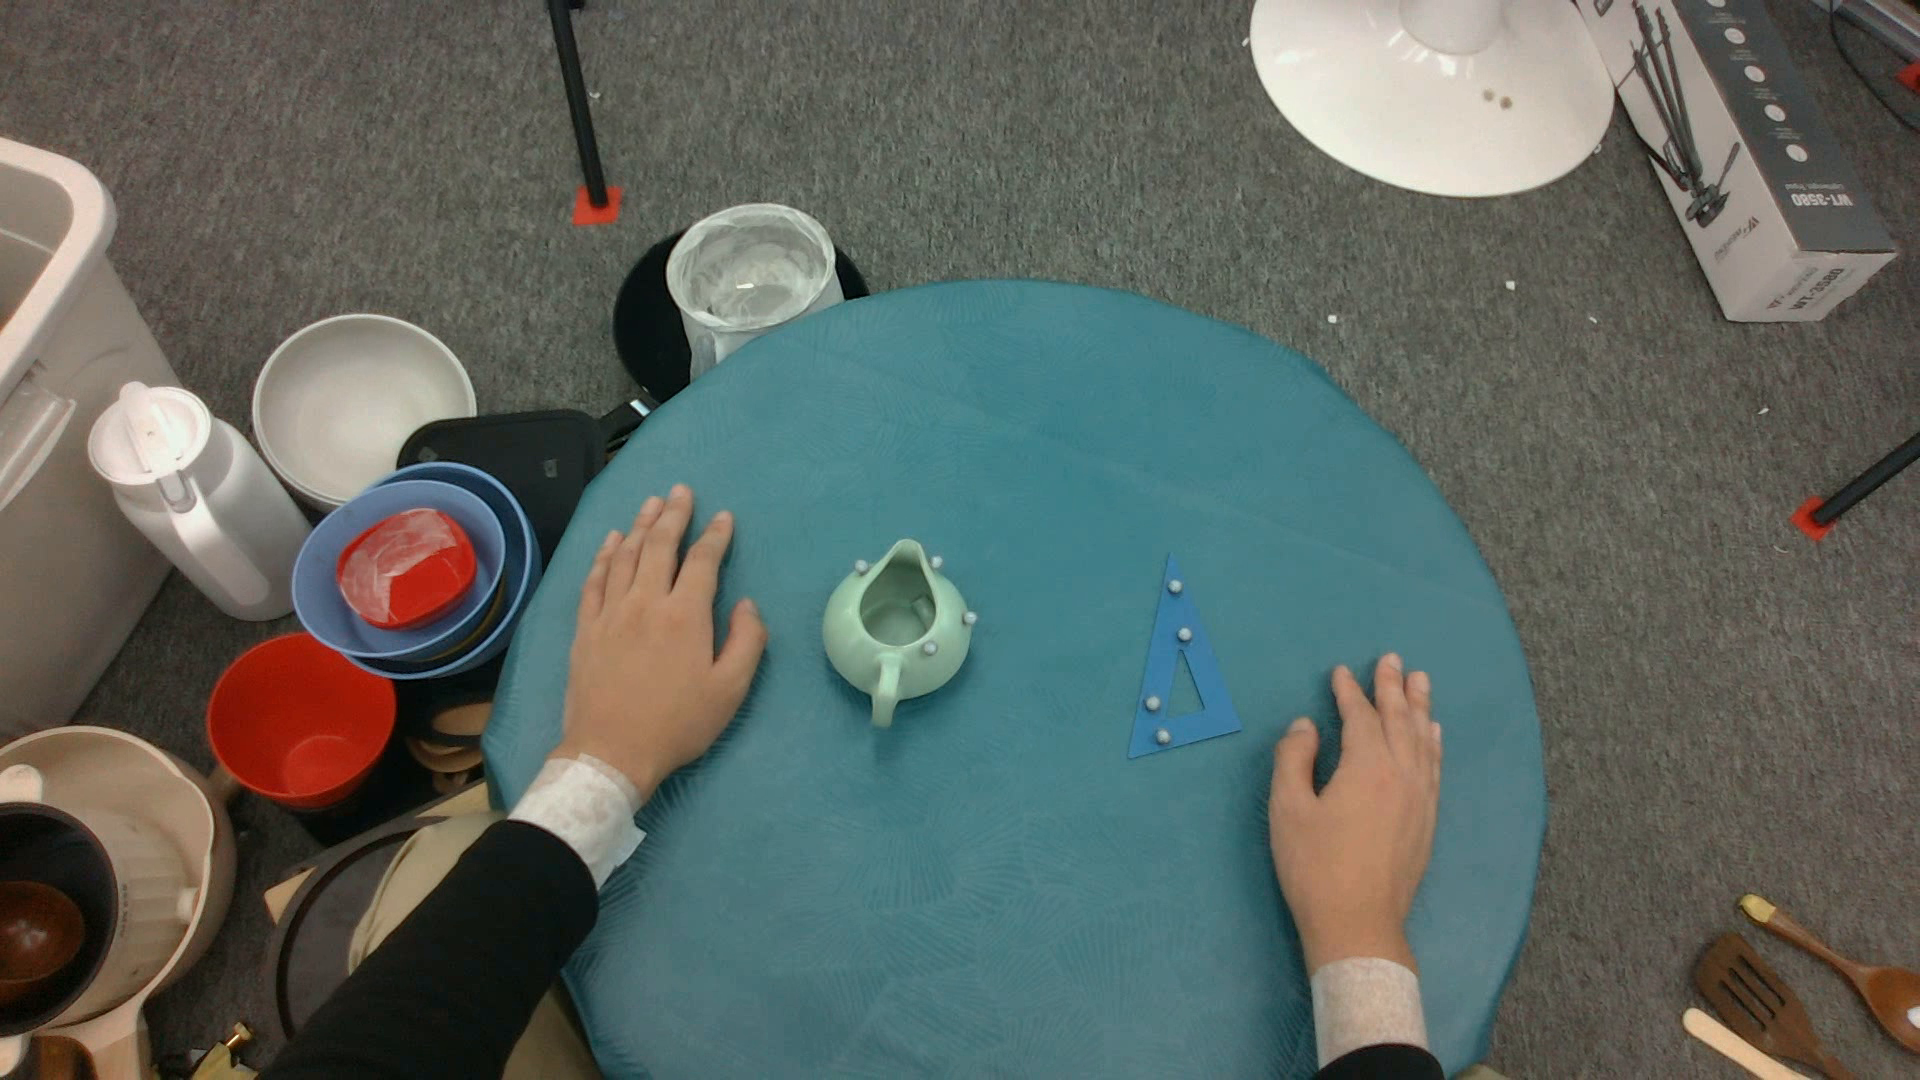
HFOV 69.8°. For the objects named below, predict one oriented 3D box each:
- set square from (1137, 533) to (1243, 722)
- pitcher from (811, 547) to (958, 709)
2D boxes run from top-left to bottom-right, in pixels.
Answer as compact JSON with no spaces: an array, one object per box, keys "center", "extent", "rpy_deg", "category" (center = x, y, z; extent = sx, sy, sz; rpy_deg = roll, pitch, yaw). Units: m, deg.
[{"center":[0.147,0.056,0.822],"extent":[0.061,0.006,0.132],"rpy_deg":[17,63,5],"category":"set square"},{"center":[-0.043,0.056,0.770],"extent":[0.086,0.060,0.108],"rpy_deg":[27,46,-2],"category":"pitcher"}]
